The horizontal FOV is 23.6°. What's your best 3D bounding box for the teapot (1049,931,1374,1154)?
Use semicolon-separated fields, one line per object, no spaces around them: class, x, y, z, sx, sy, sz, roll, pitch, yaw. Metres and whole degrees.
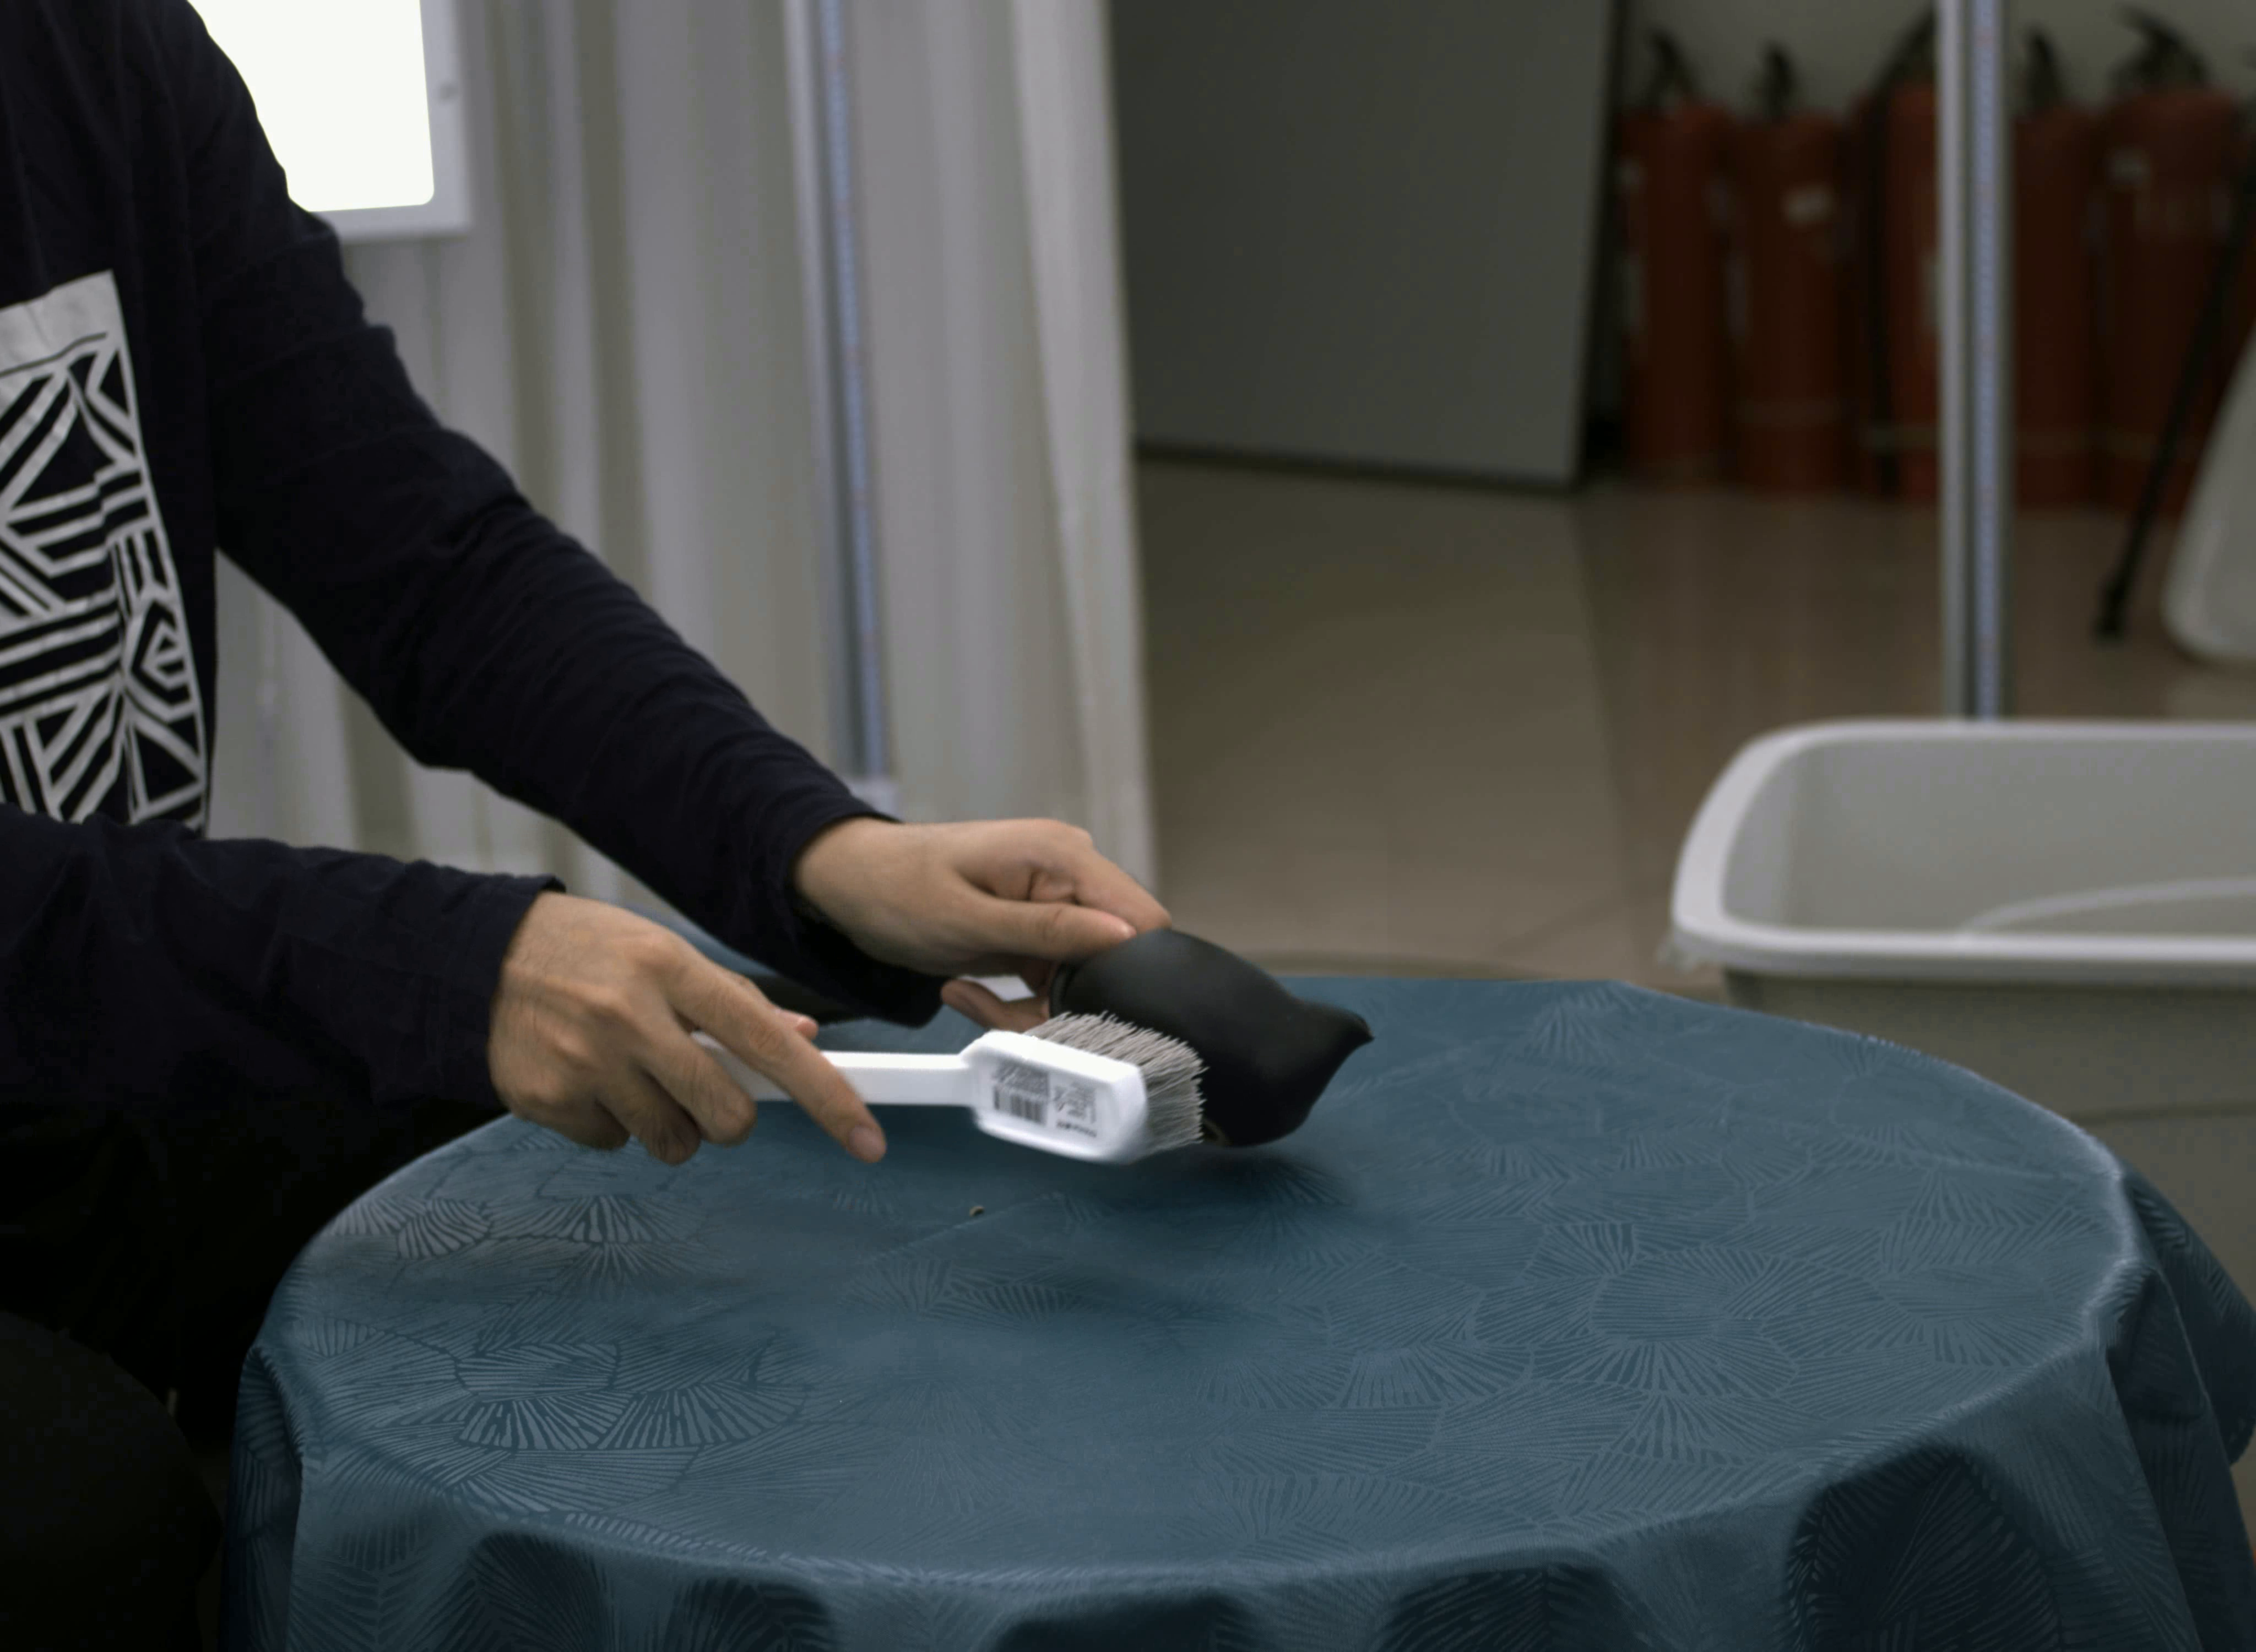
teapot;0.022;0.072;1.786;0.134;0.053;0.090;19;-17;42

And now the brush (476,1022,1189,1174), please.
brush;-0.094;0.082;1.716;0.244;0.035;0.049;1;20;26
